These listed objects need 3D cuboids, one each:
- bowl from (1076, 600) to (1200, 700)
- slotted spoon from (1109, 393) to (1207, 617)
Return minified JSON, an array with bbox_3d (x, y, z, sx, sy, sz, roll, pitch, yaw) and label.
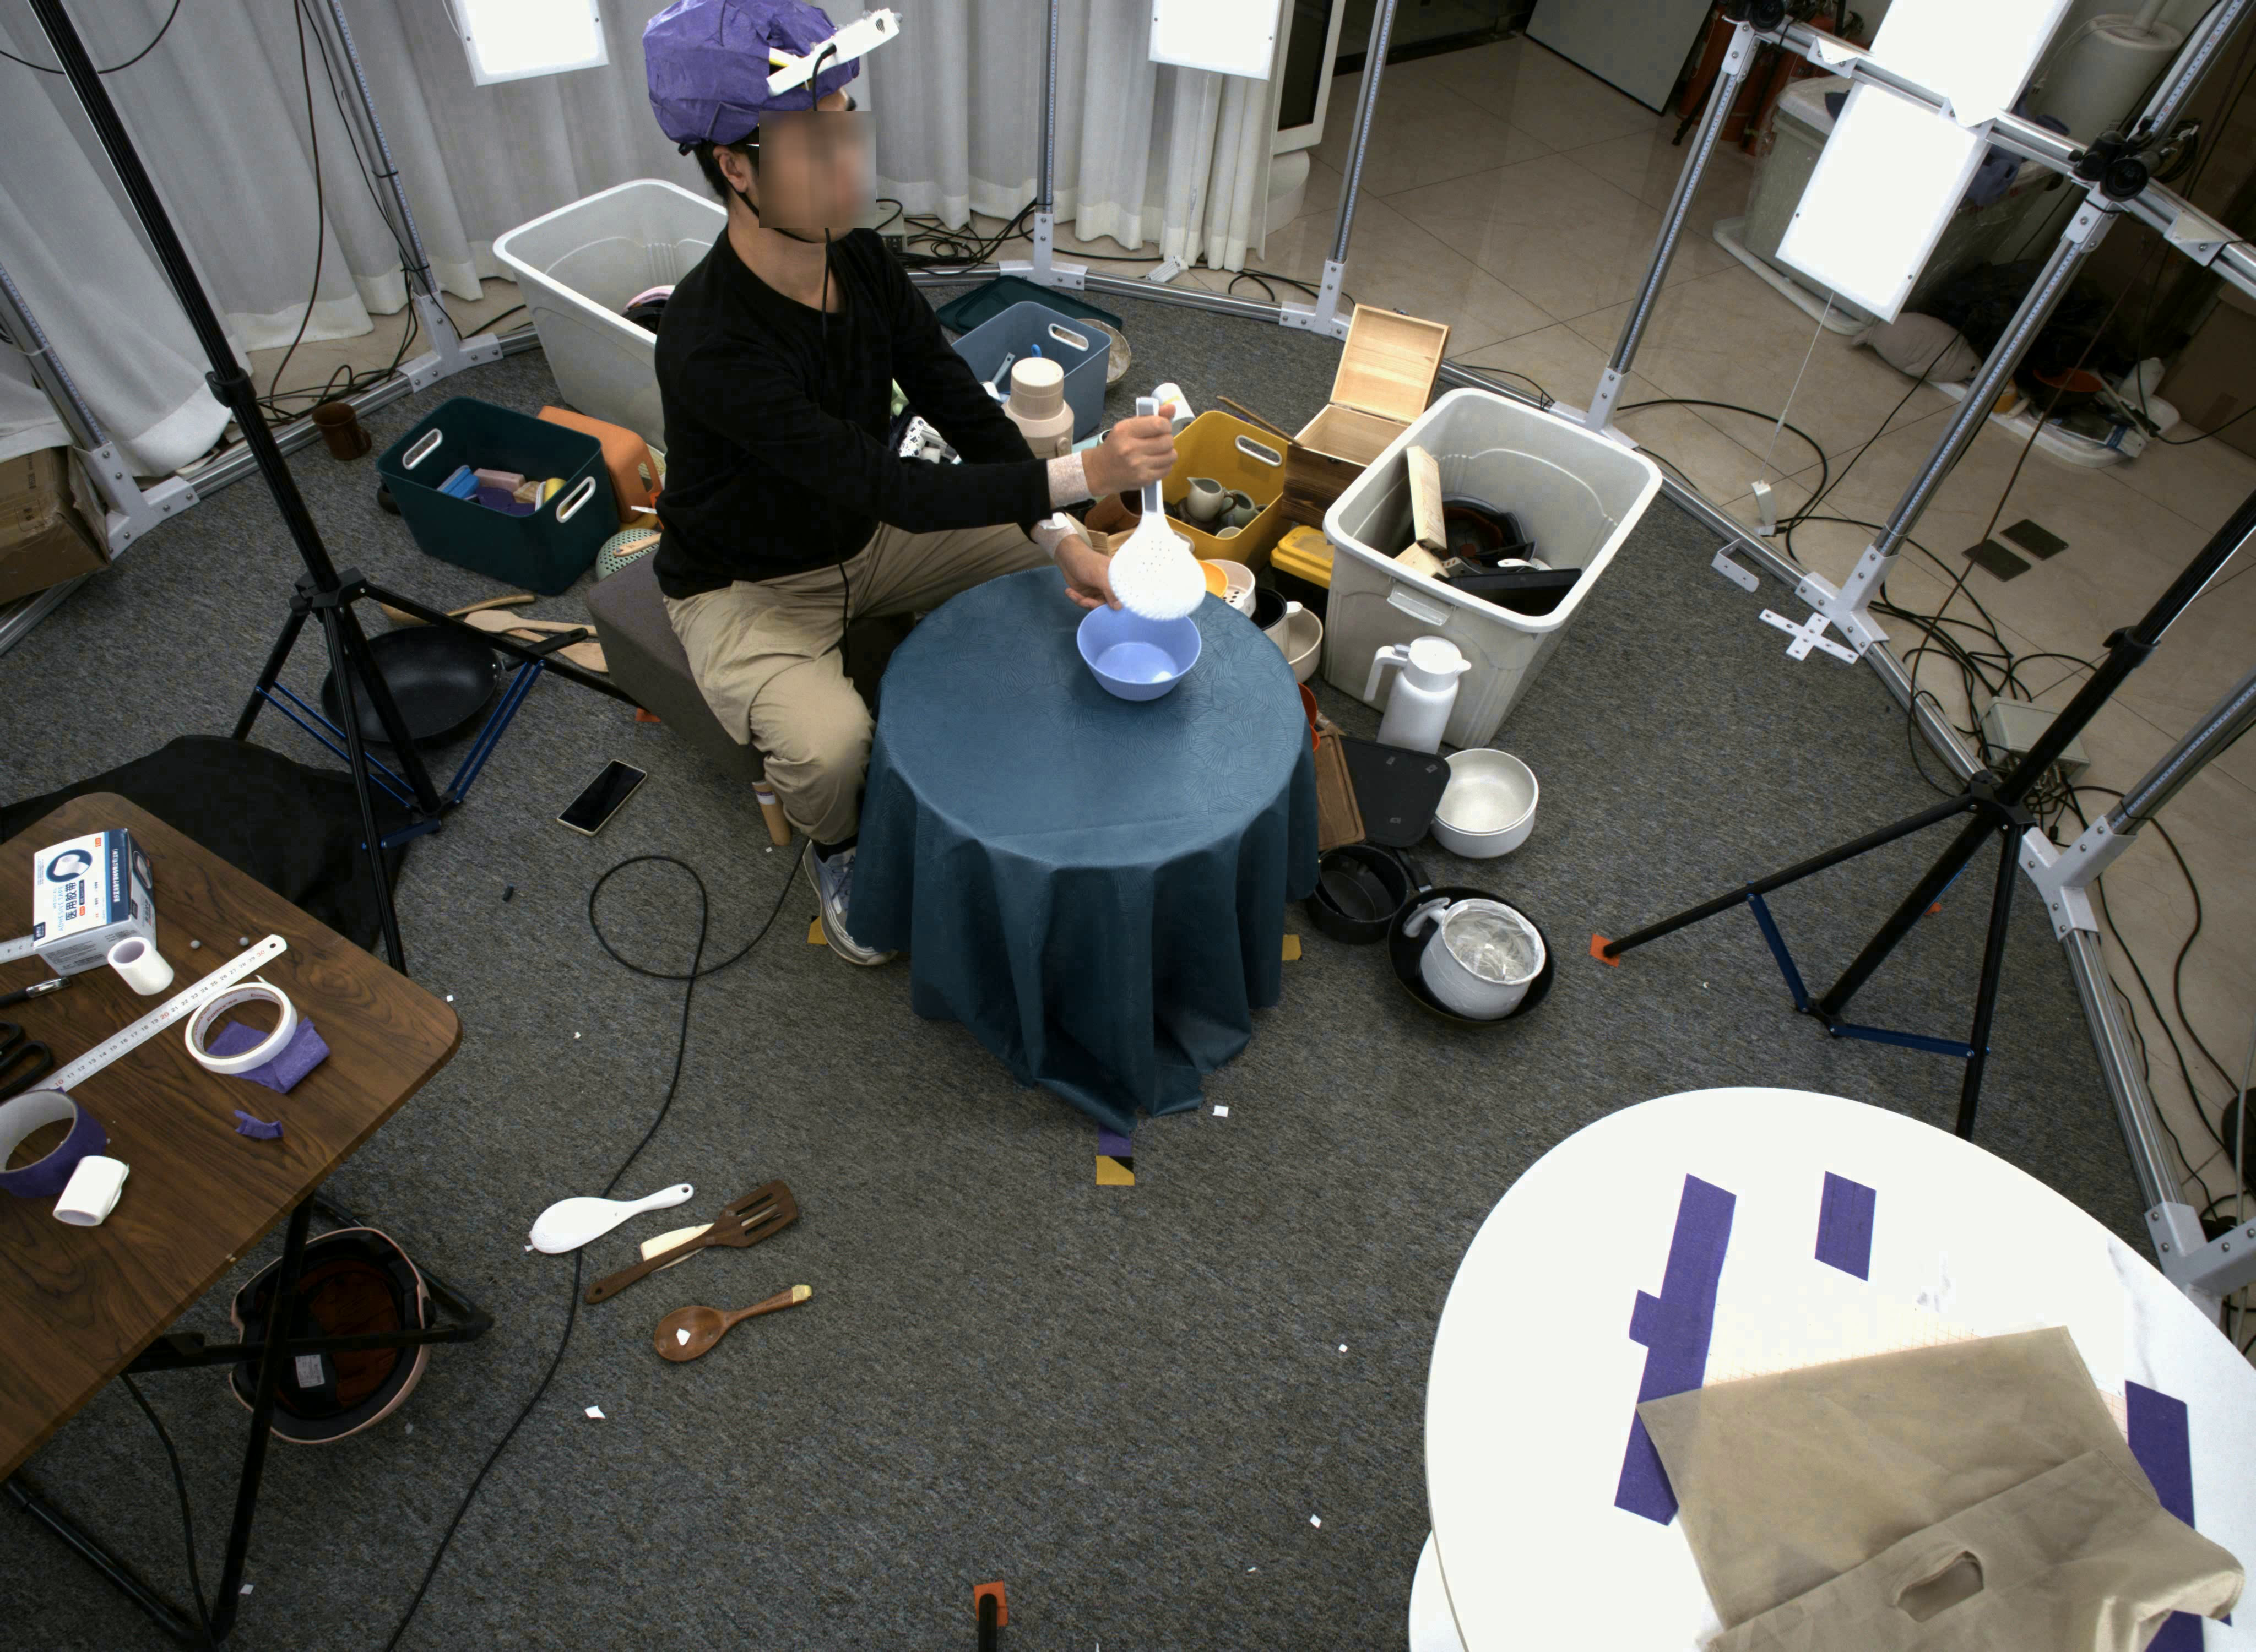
[{"bbox_3d":[0.013,-0.243,1.837,0.176,0.068,0.180,1,49,-2],"label":"bowl"},{"bbox_3d":[0.032,-0.404,1.678,0.136,0.341,0.047,6,45,10],"label":"slotted spoon"}]
